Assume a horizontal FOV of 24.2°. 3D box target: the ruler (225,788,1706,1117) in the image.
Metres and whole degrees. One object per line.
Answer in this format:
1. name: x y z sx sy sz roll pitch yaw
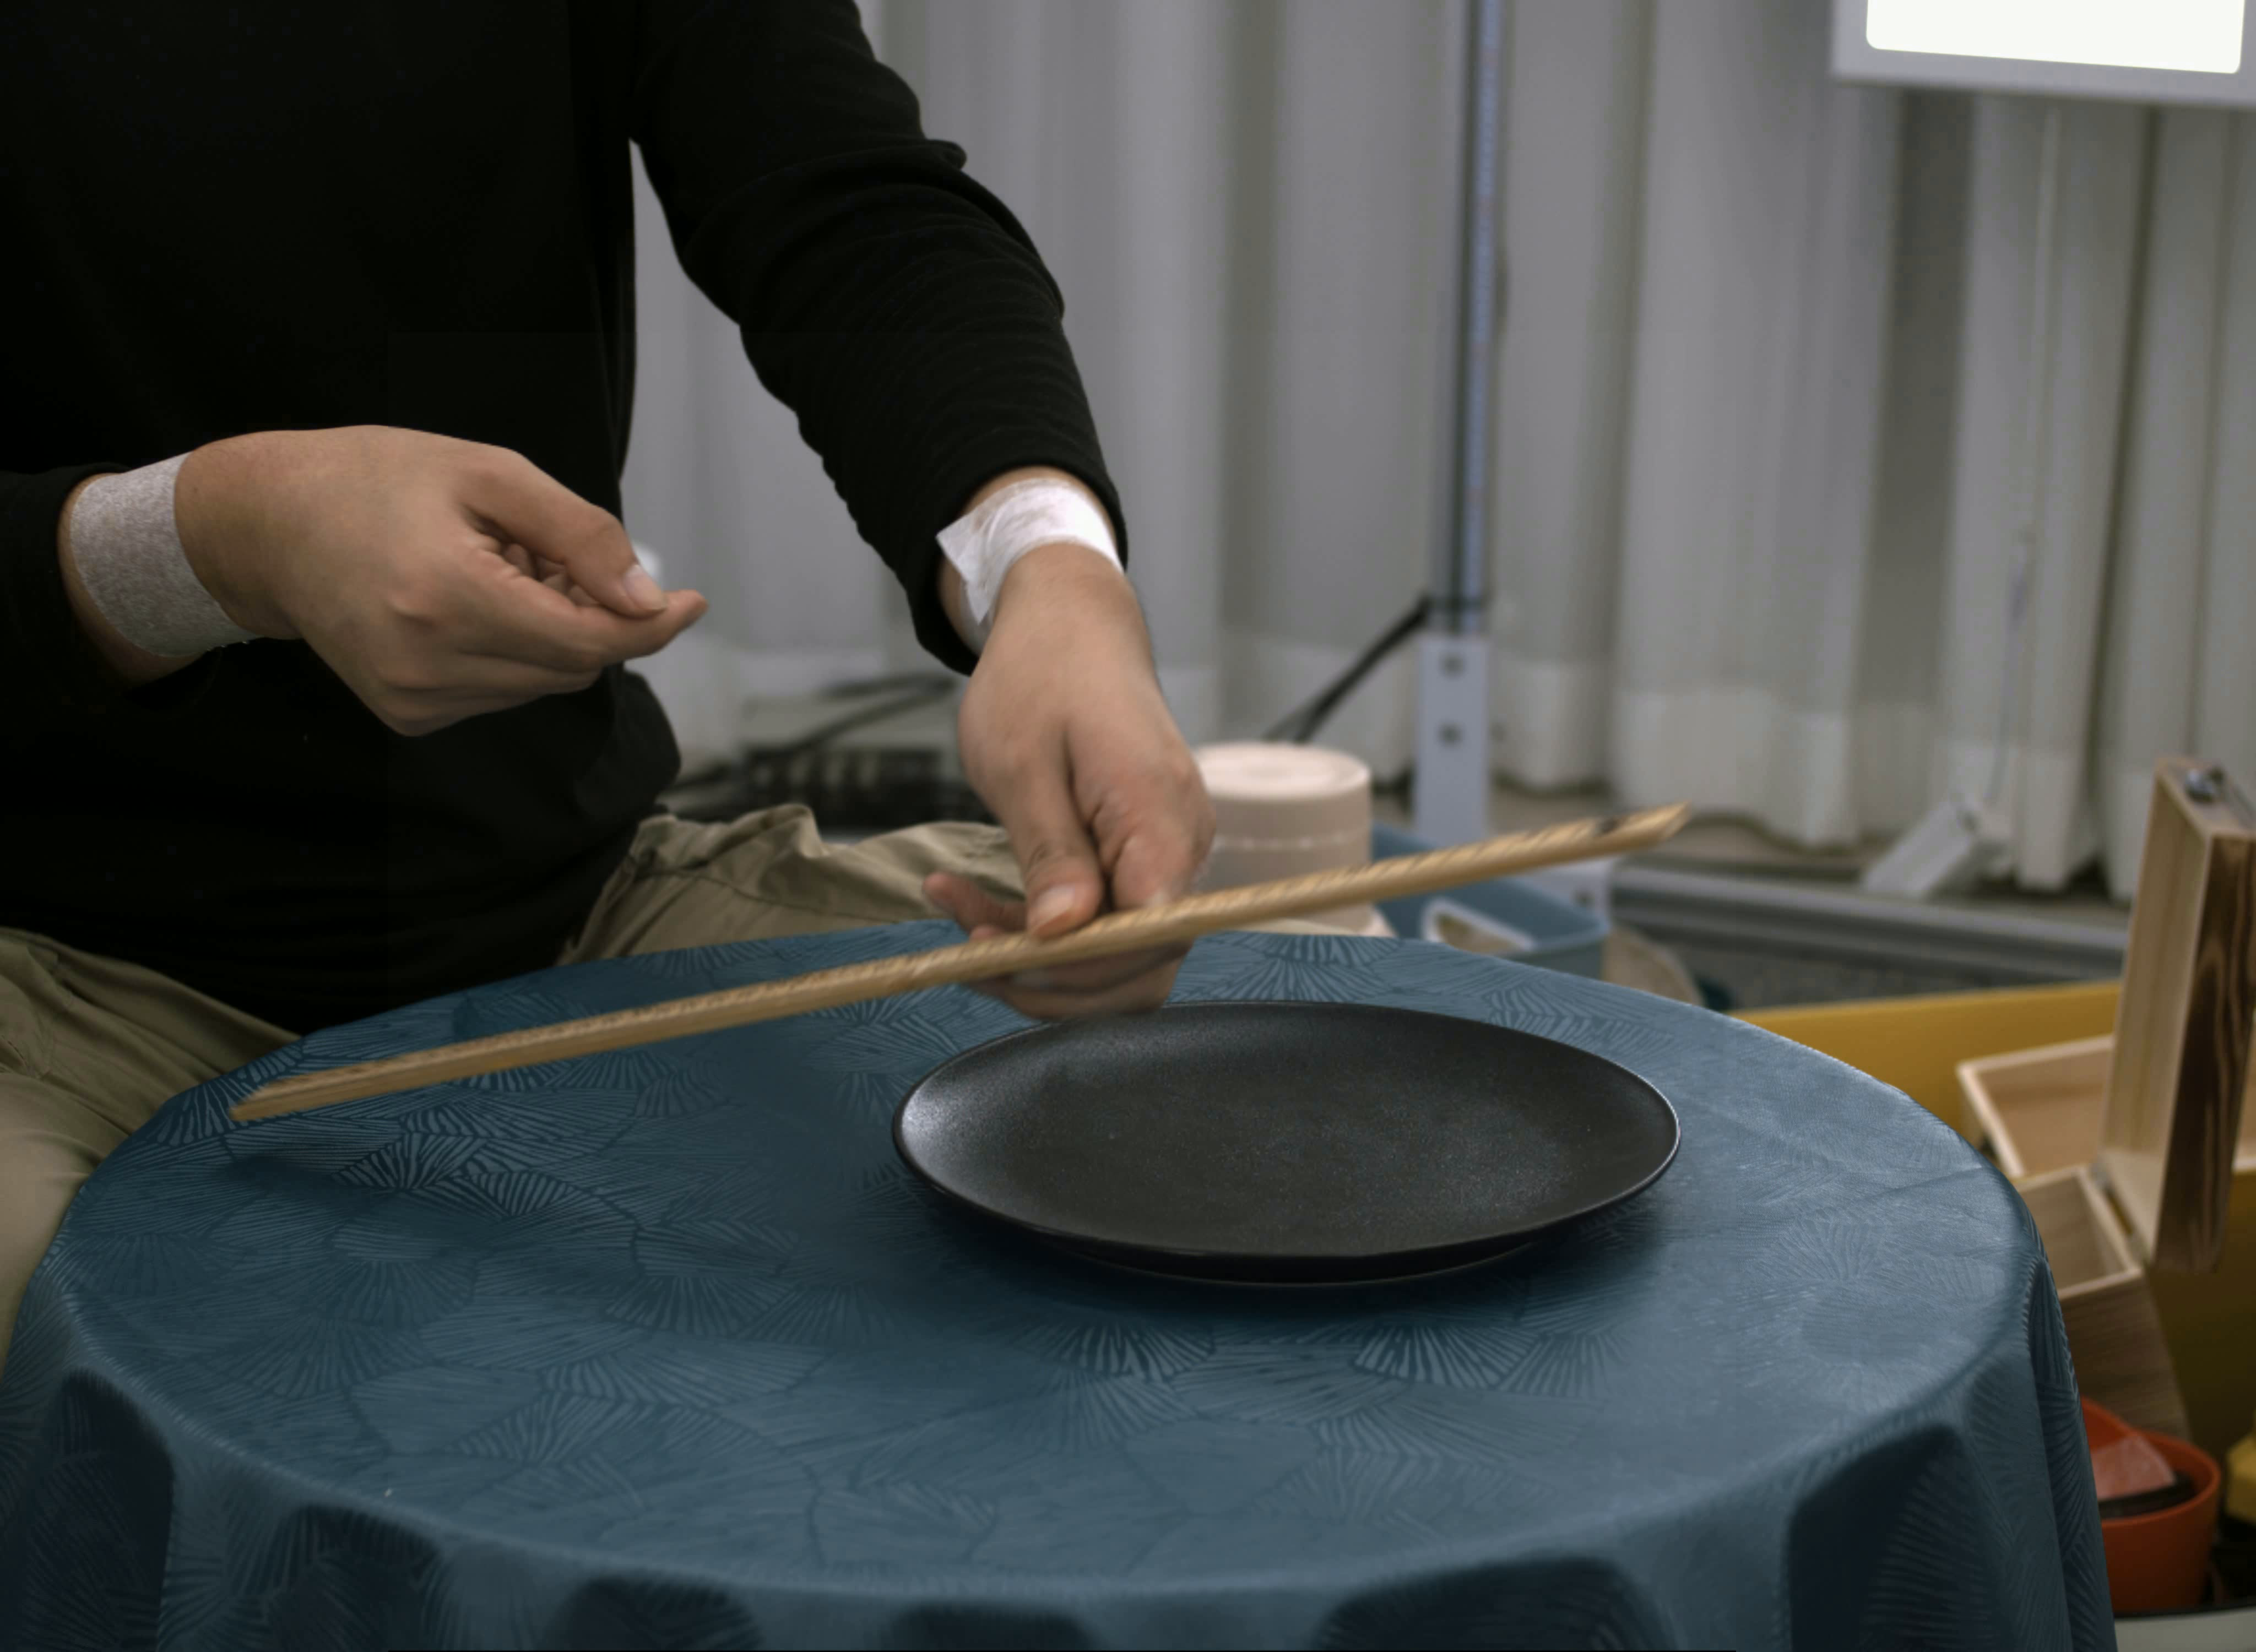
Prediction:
1. ruler: -0.062 0.039 1.515 0.496 0.006 0.027 -12 13 29

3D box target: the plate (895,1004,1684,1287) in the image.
1. plate: 0.050 0.100 1.623 0.243 0.023 0.243 0 15 0
